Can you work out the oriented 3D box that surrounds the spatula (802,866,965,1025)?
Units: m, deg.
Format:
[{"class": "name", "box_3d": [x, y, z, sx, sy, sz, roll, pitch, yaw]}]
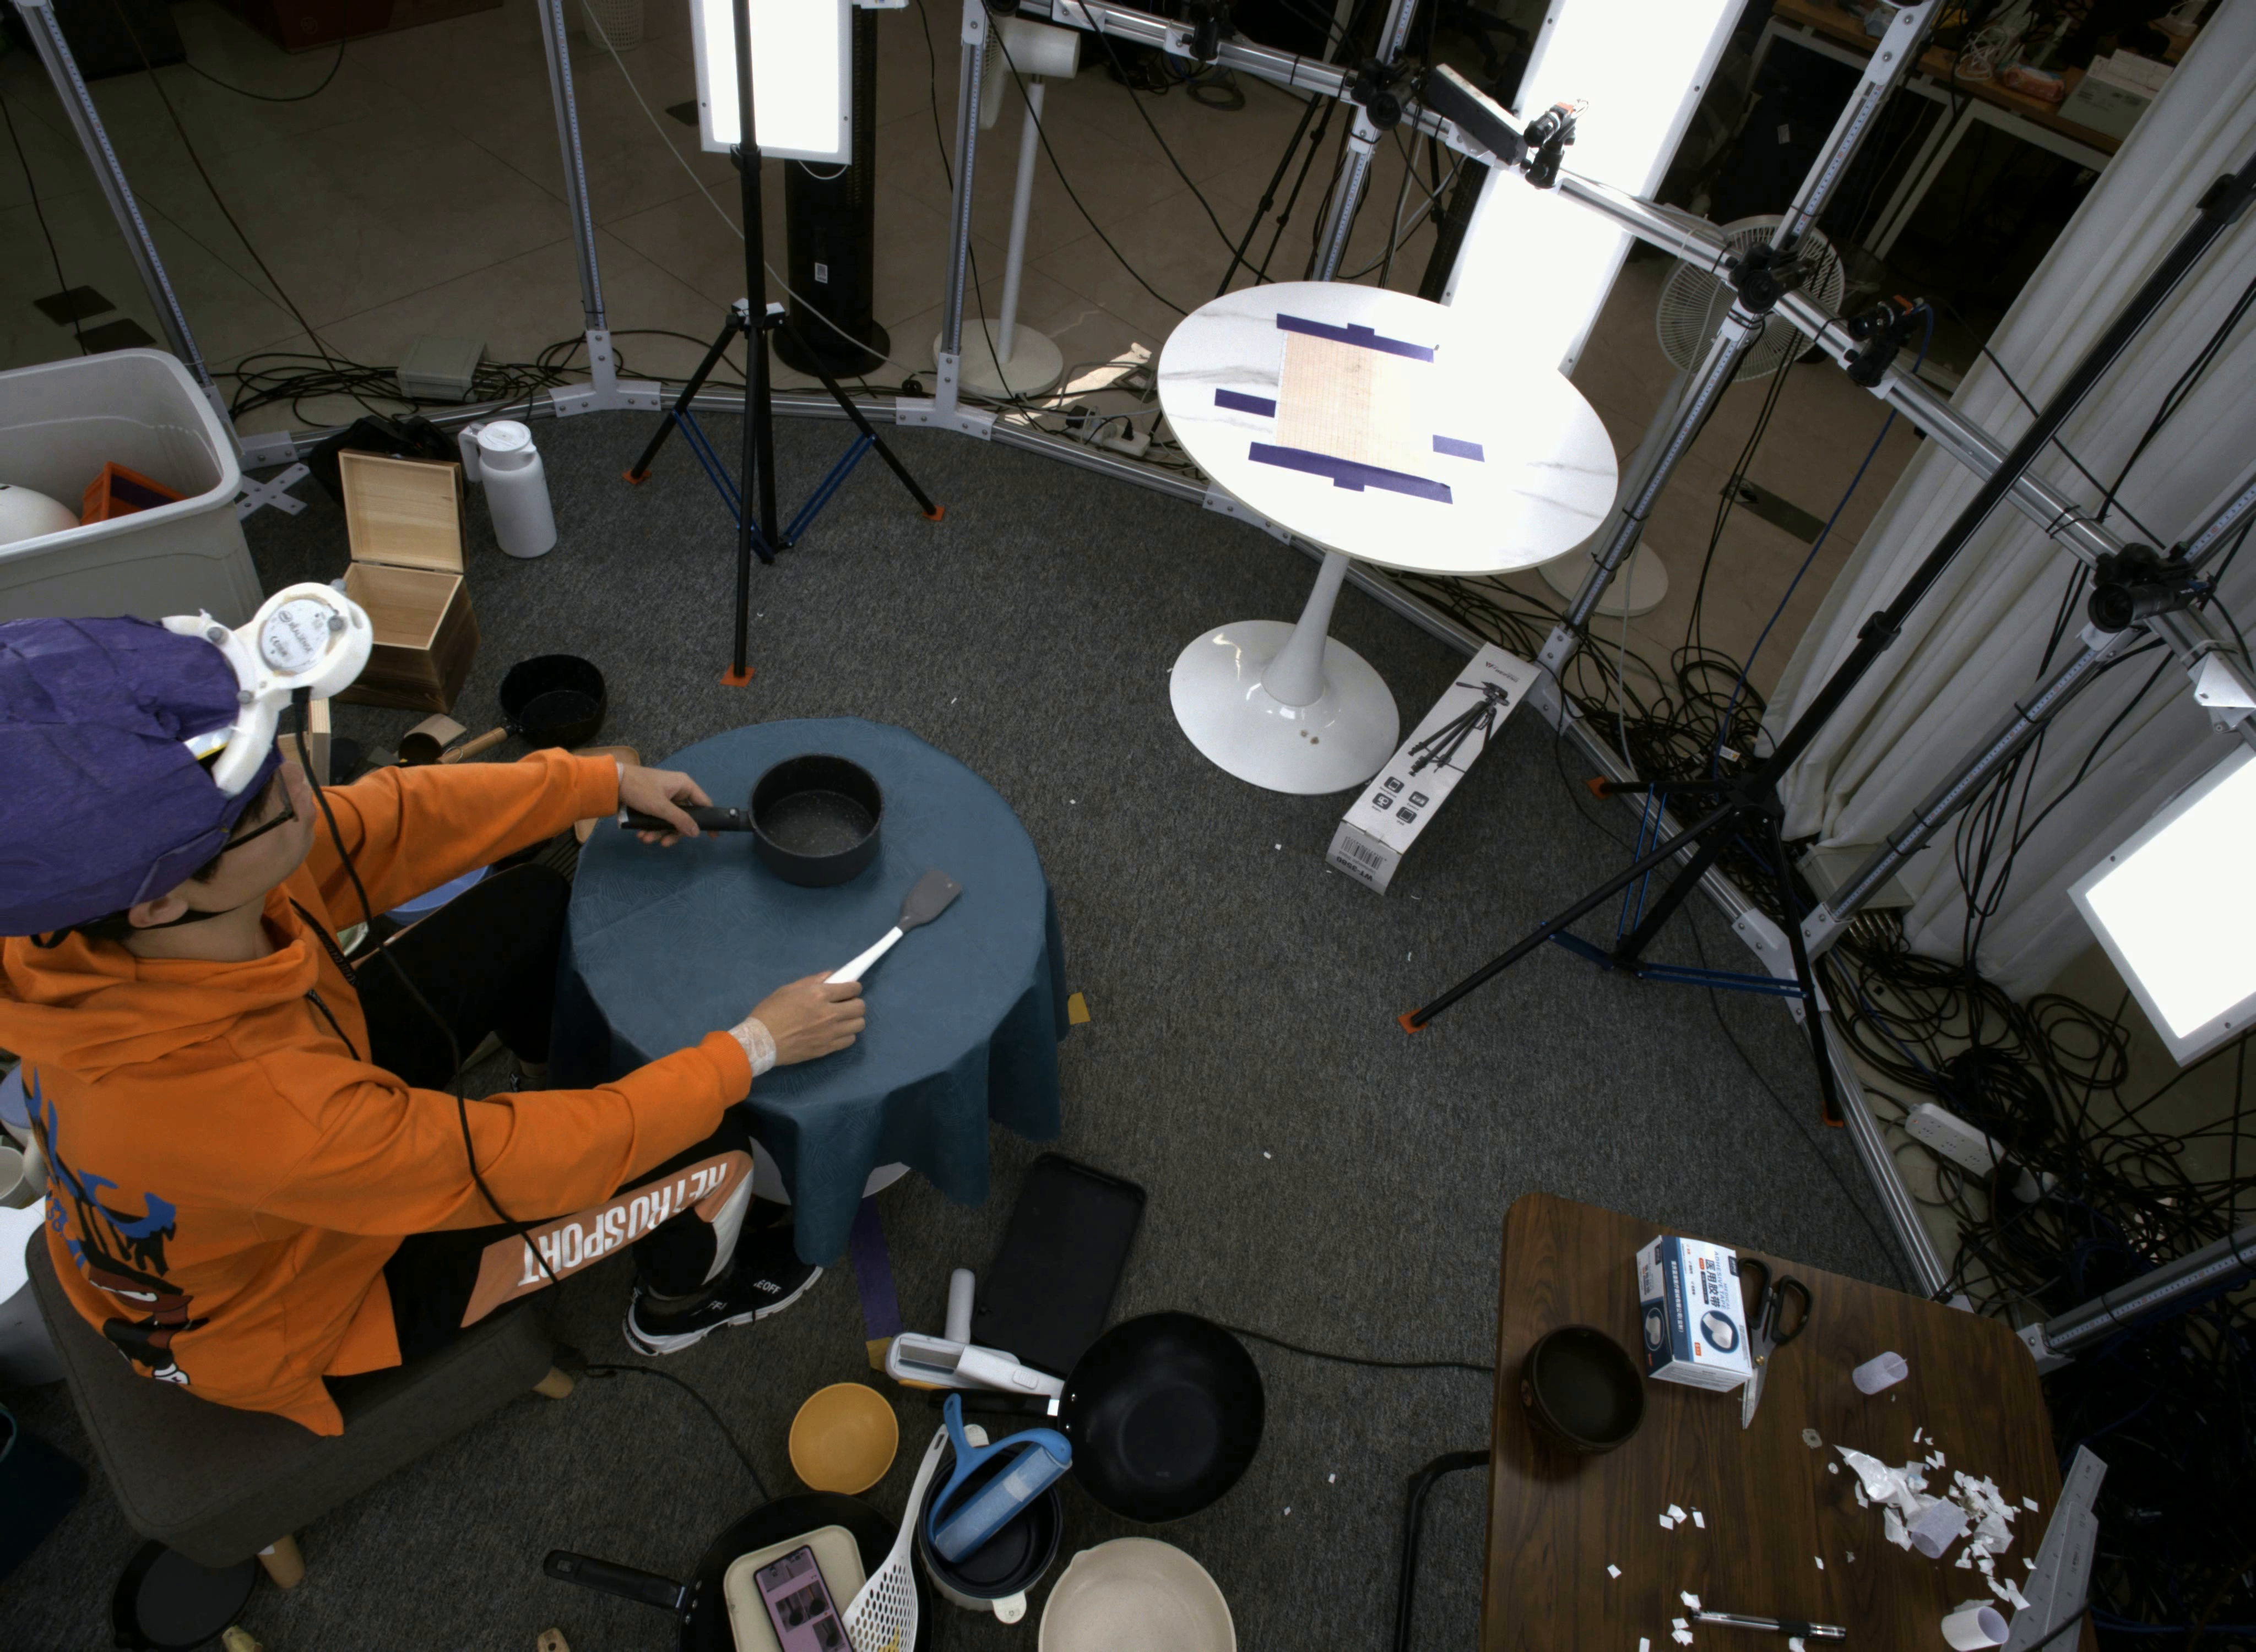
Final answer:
[{"class": "spatula", "box_3d": [-0.302, 0.142, 1.610, 0.057, 0.033, 0.287, 29, 43, 12]}]

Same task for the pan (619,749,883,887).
[{"class": "pan", "box_3d": [-0.479, -0.007, 1.649, 0.330, 0.088, 0.168, -2, 53, -18]}]
